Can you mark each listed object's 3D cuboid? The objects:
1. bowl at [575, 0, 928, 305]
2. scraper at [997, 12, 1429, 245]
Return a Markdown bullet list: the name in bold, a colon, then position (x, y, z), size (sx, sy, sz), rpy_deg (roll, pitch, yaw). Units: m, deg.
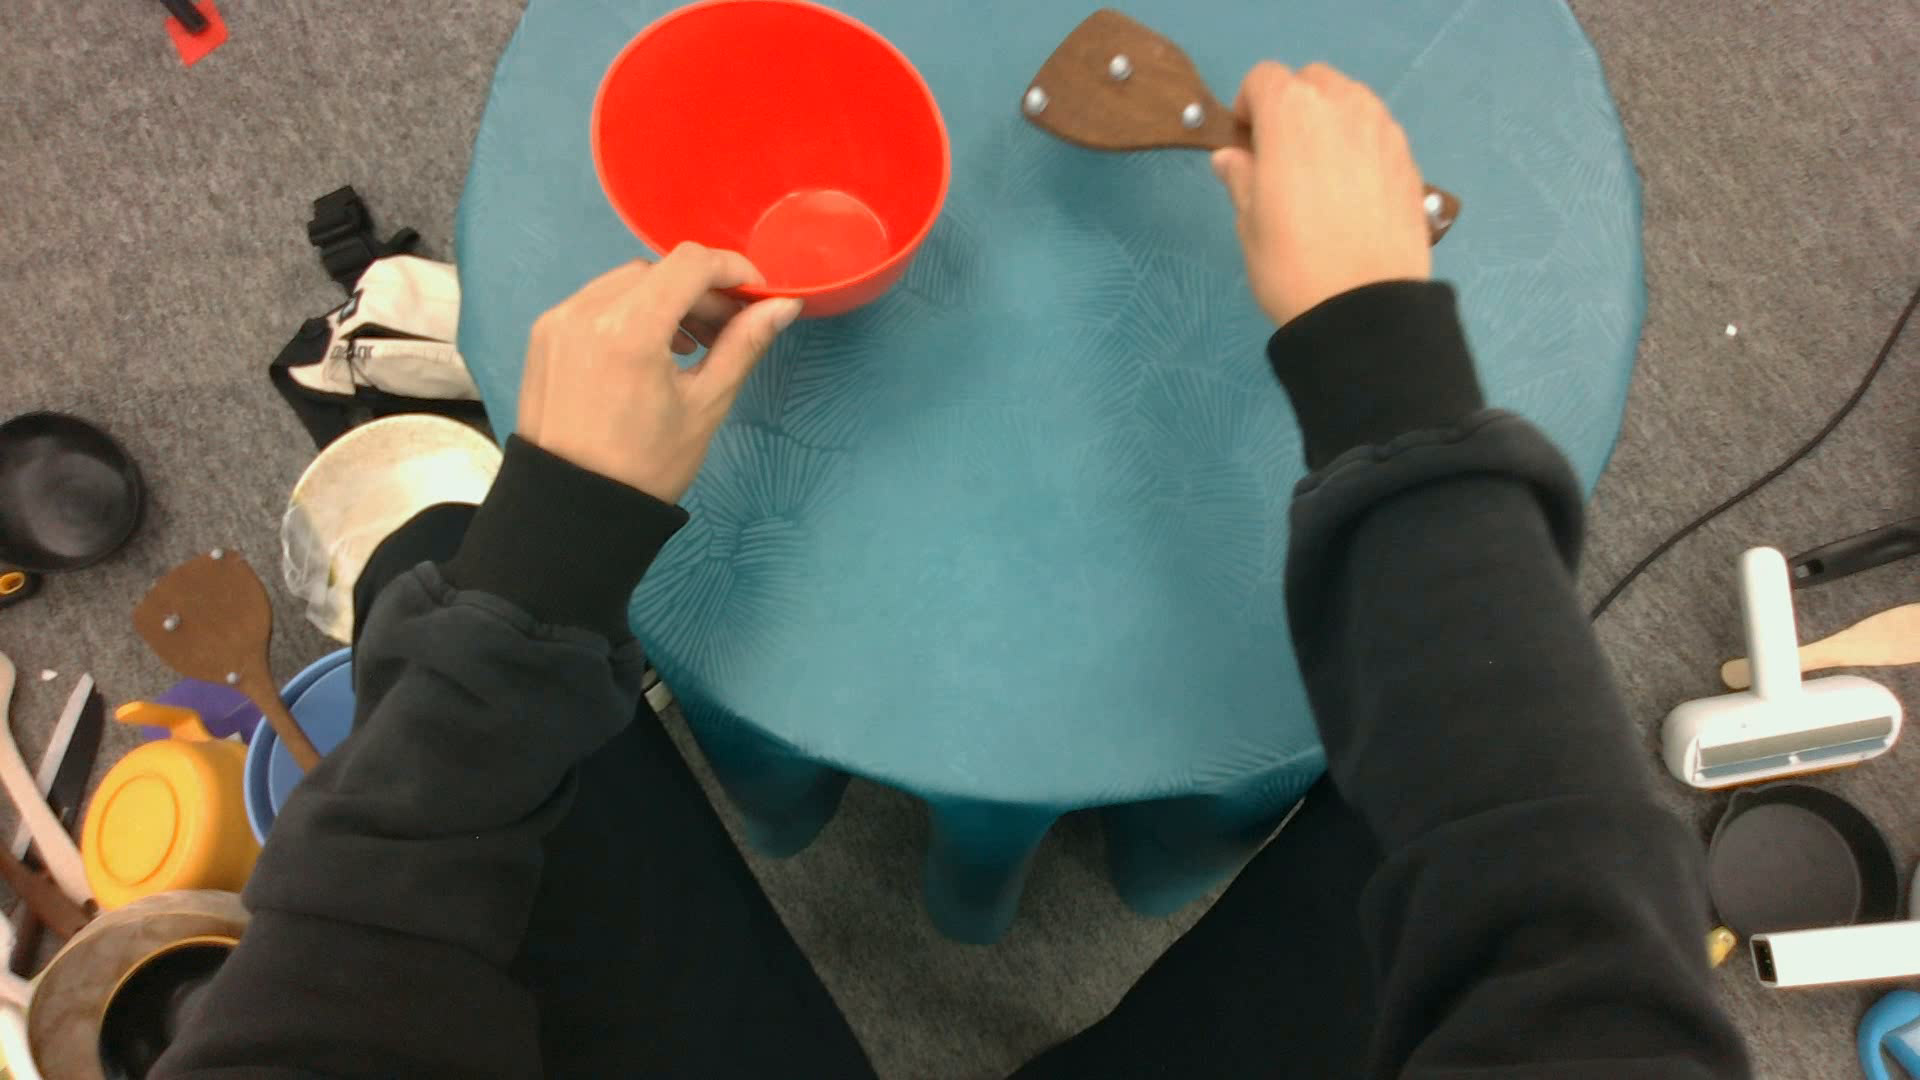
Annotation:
- **bowl**: position (-0.088, -0.162, 0.626), size (0.148, 0.104, 0.148), rpy_deg (1, 70, -1)
- **scraper**: position (0.115, -0.184, 0.632), size (0.211, 0.011, 0.076), rpy_deg (31, 78, 25)
